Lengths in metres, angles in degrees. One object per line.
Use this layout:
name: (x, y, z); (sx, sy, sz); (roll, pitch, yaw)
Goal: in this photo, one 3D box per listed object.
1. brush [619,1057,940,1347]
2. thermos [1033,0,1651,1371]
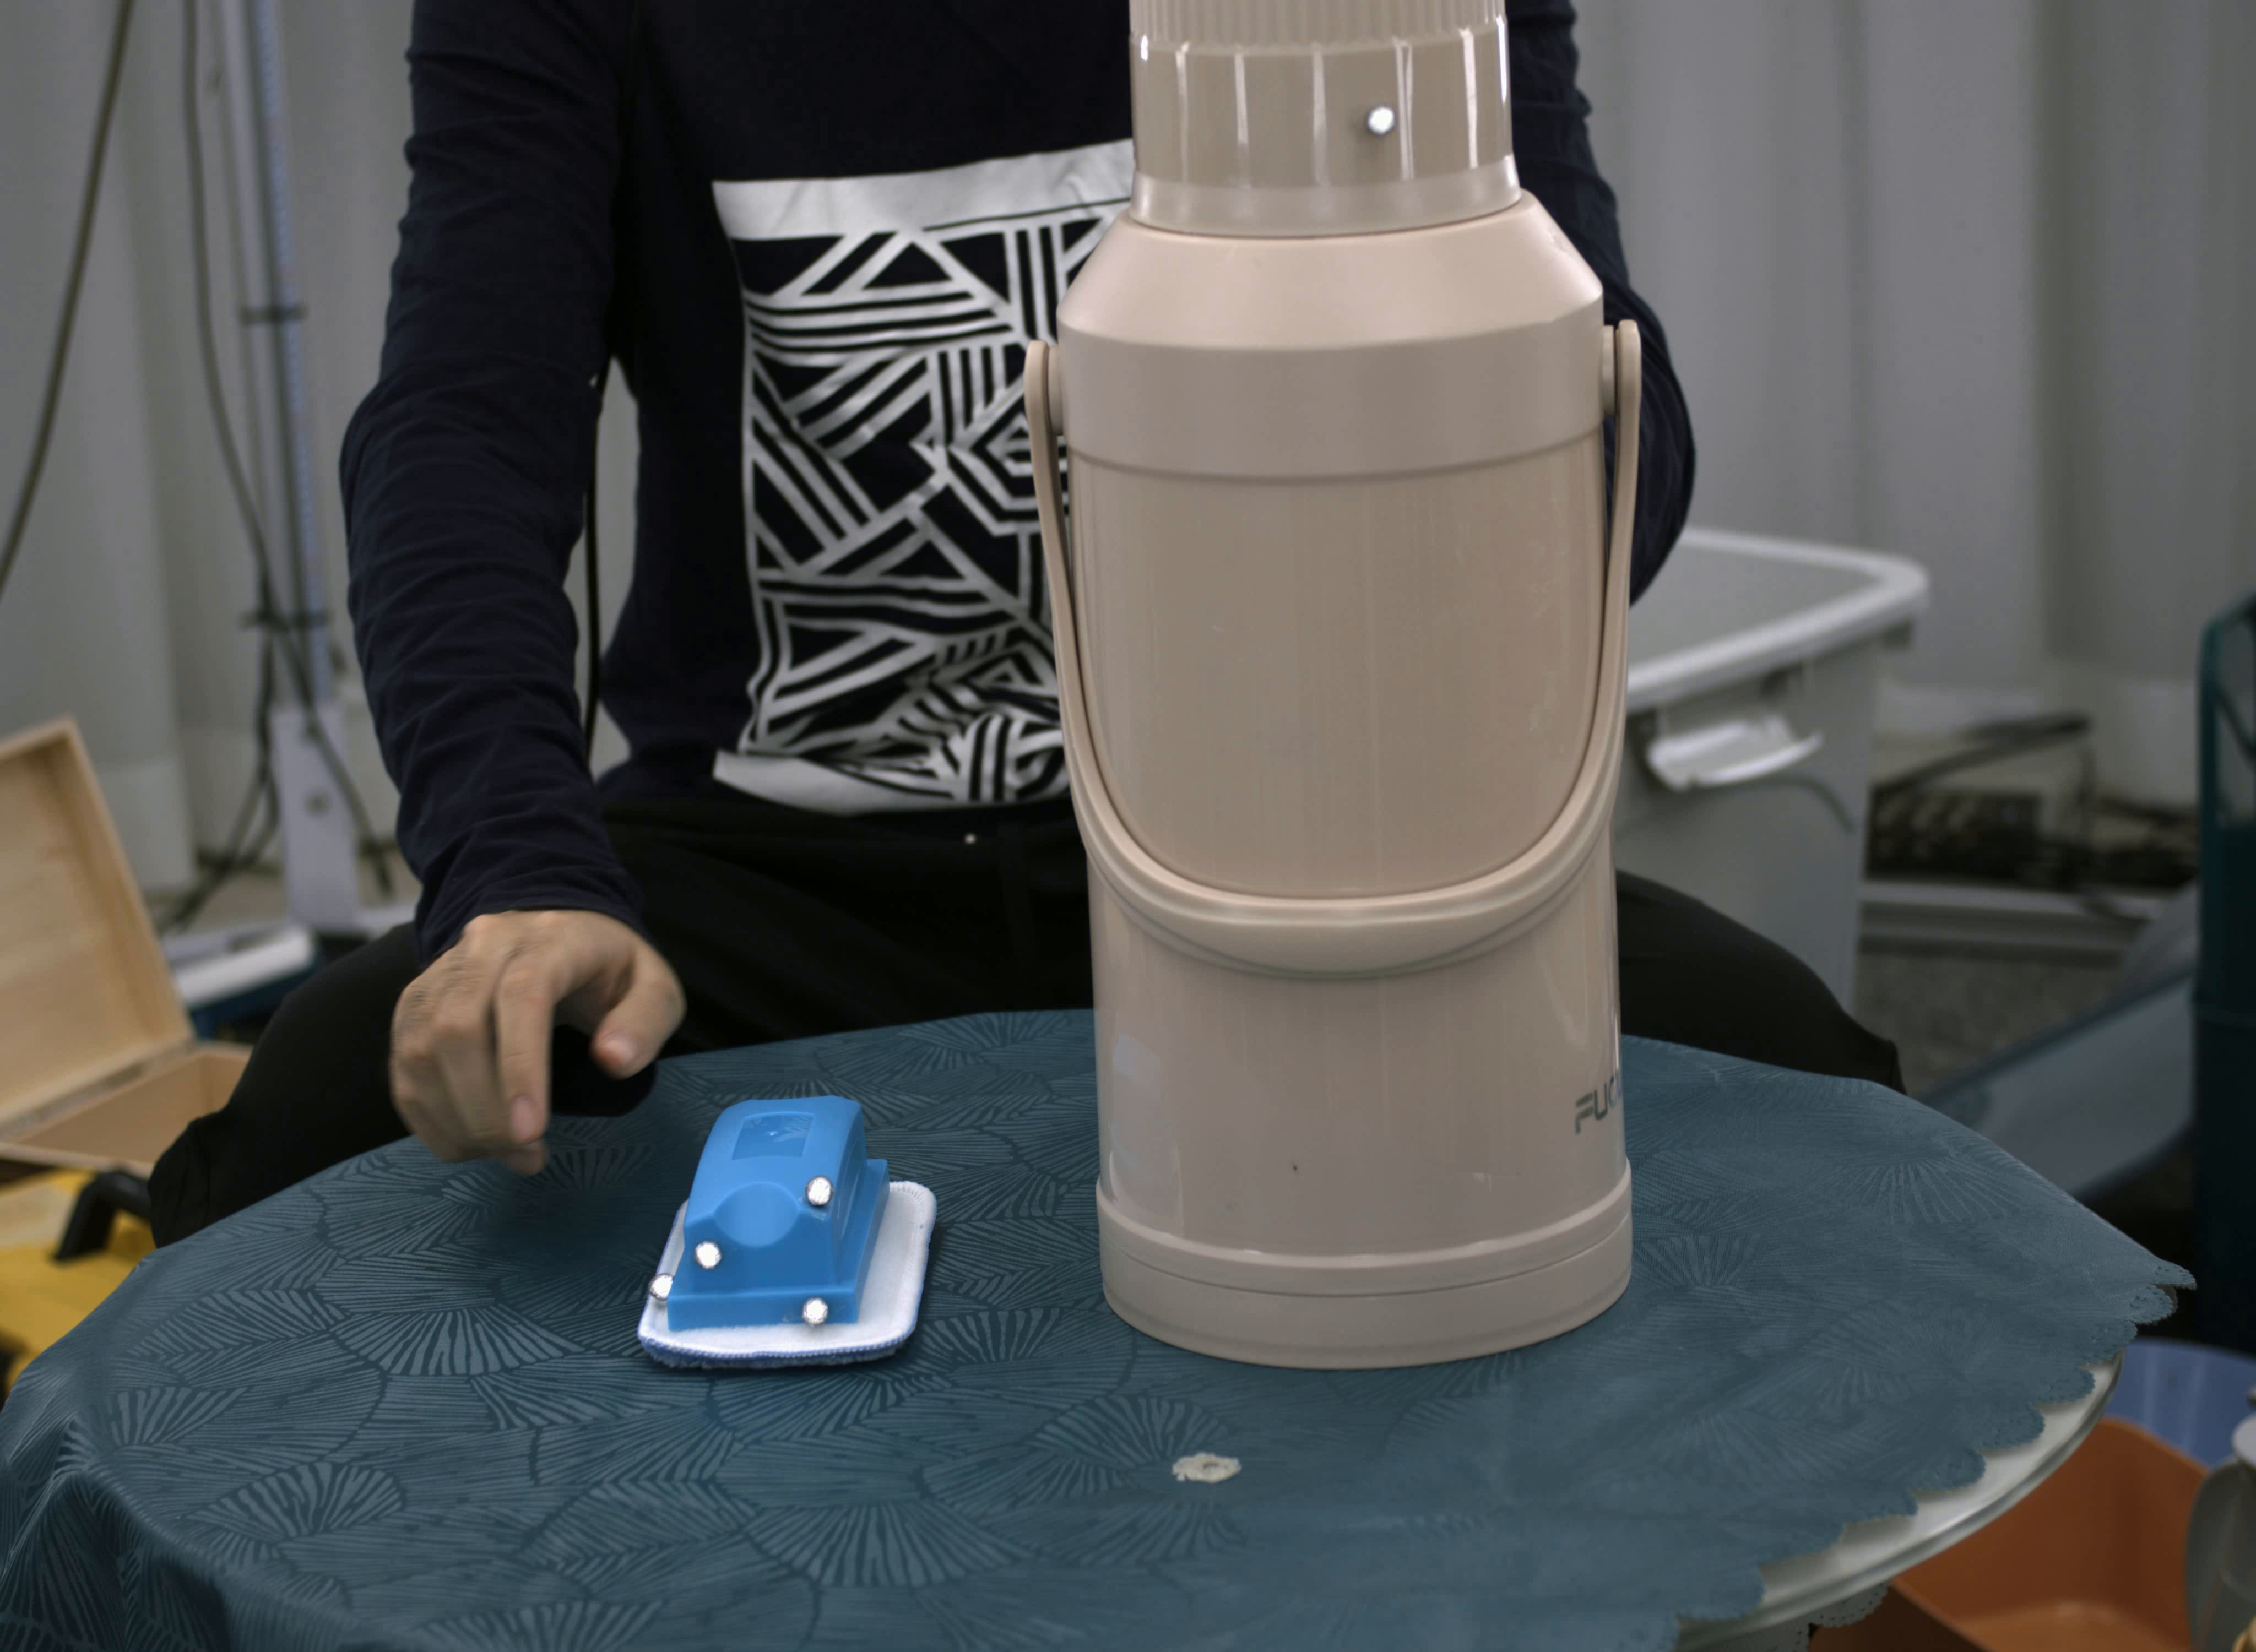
brush: (-0.103, 0.109, 1.637); (0.083, 0.055, 0.145); (1, 18, 5)
thermos: (0.067, -0.060, 1.593); (0.175, 0.405, 0.208); (-3, 13, 5)
